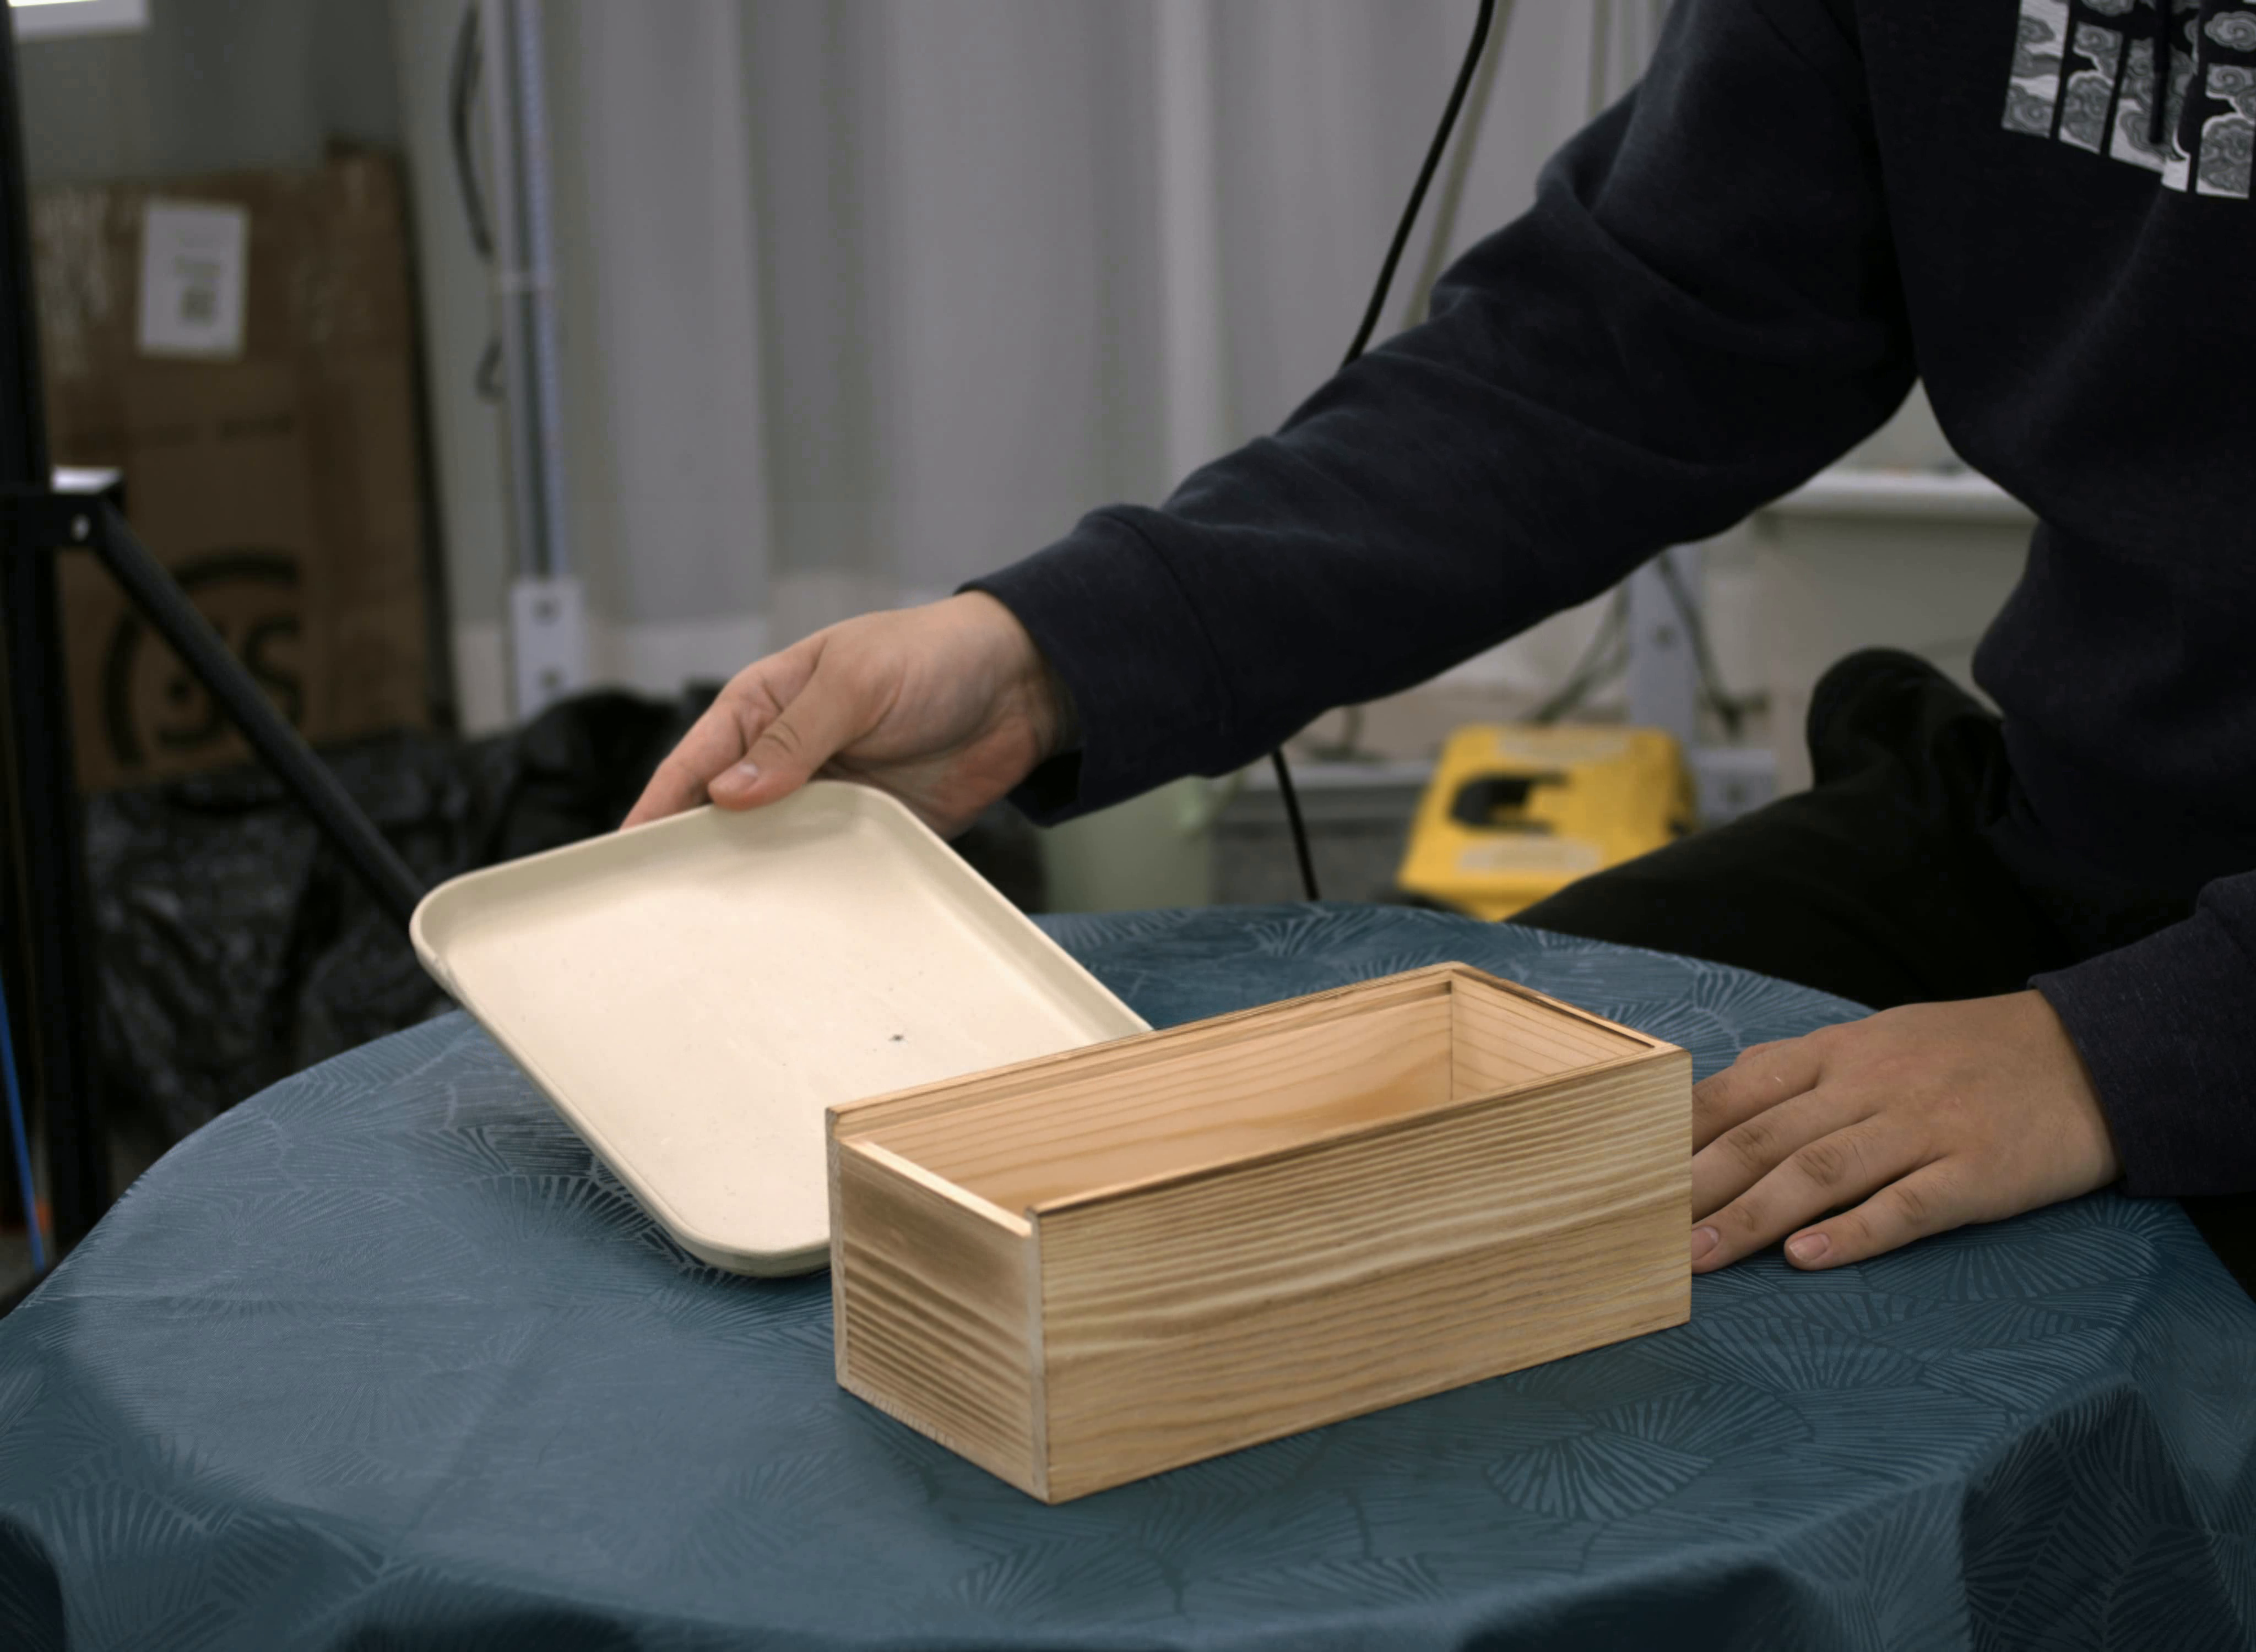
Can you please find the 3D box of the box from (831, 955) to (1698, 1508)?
[{"bbox_3d":[0.038,0.104,1.418,0.206,0.080,0.110,-12,19,-31],"label":"box"}]

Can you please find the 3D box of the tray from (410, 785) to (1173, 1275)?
[{"bbox_3d":[-0.100,0.059,1.607,0.168,0.017,0.245,-17,32,-25],"label":"tray"}]
